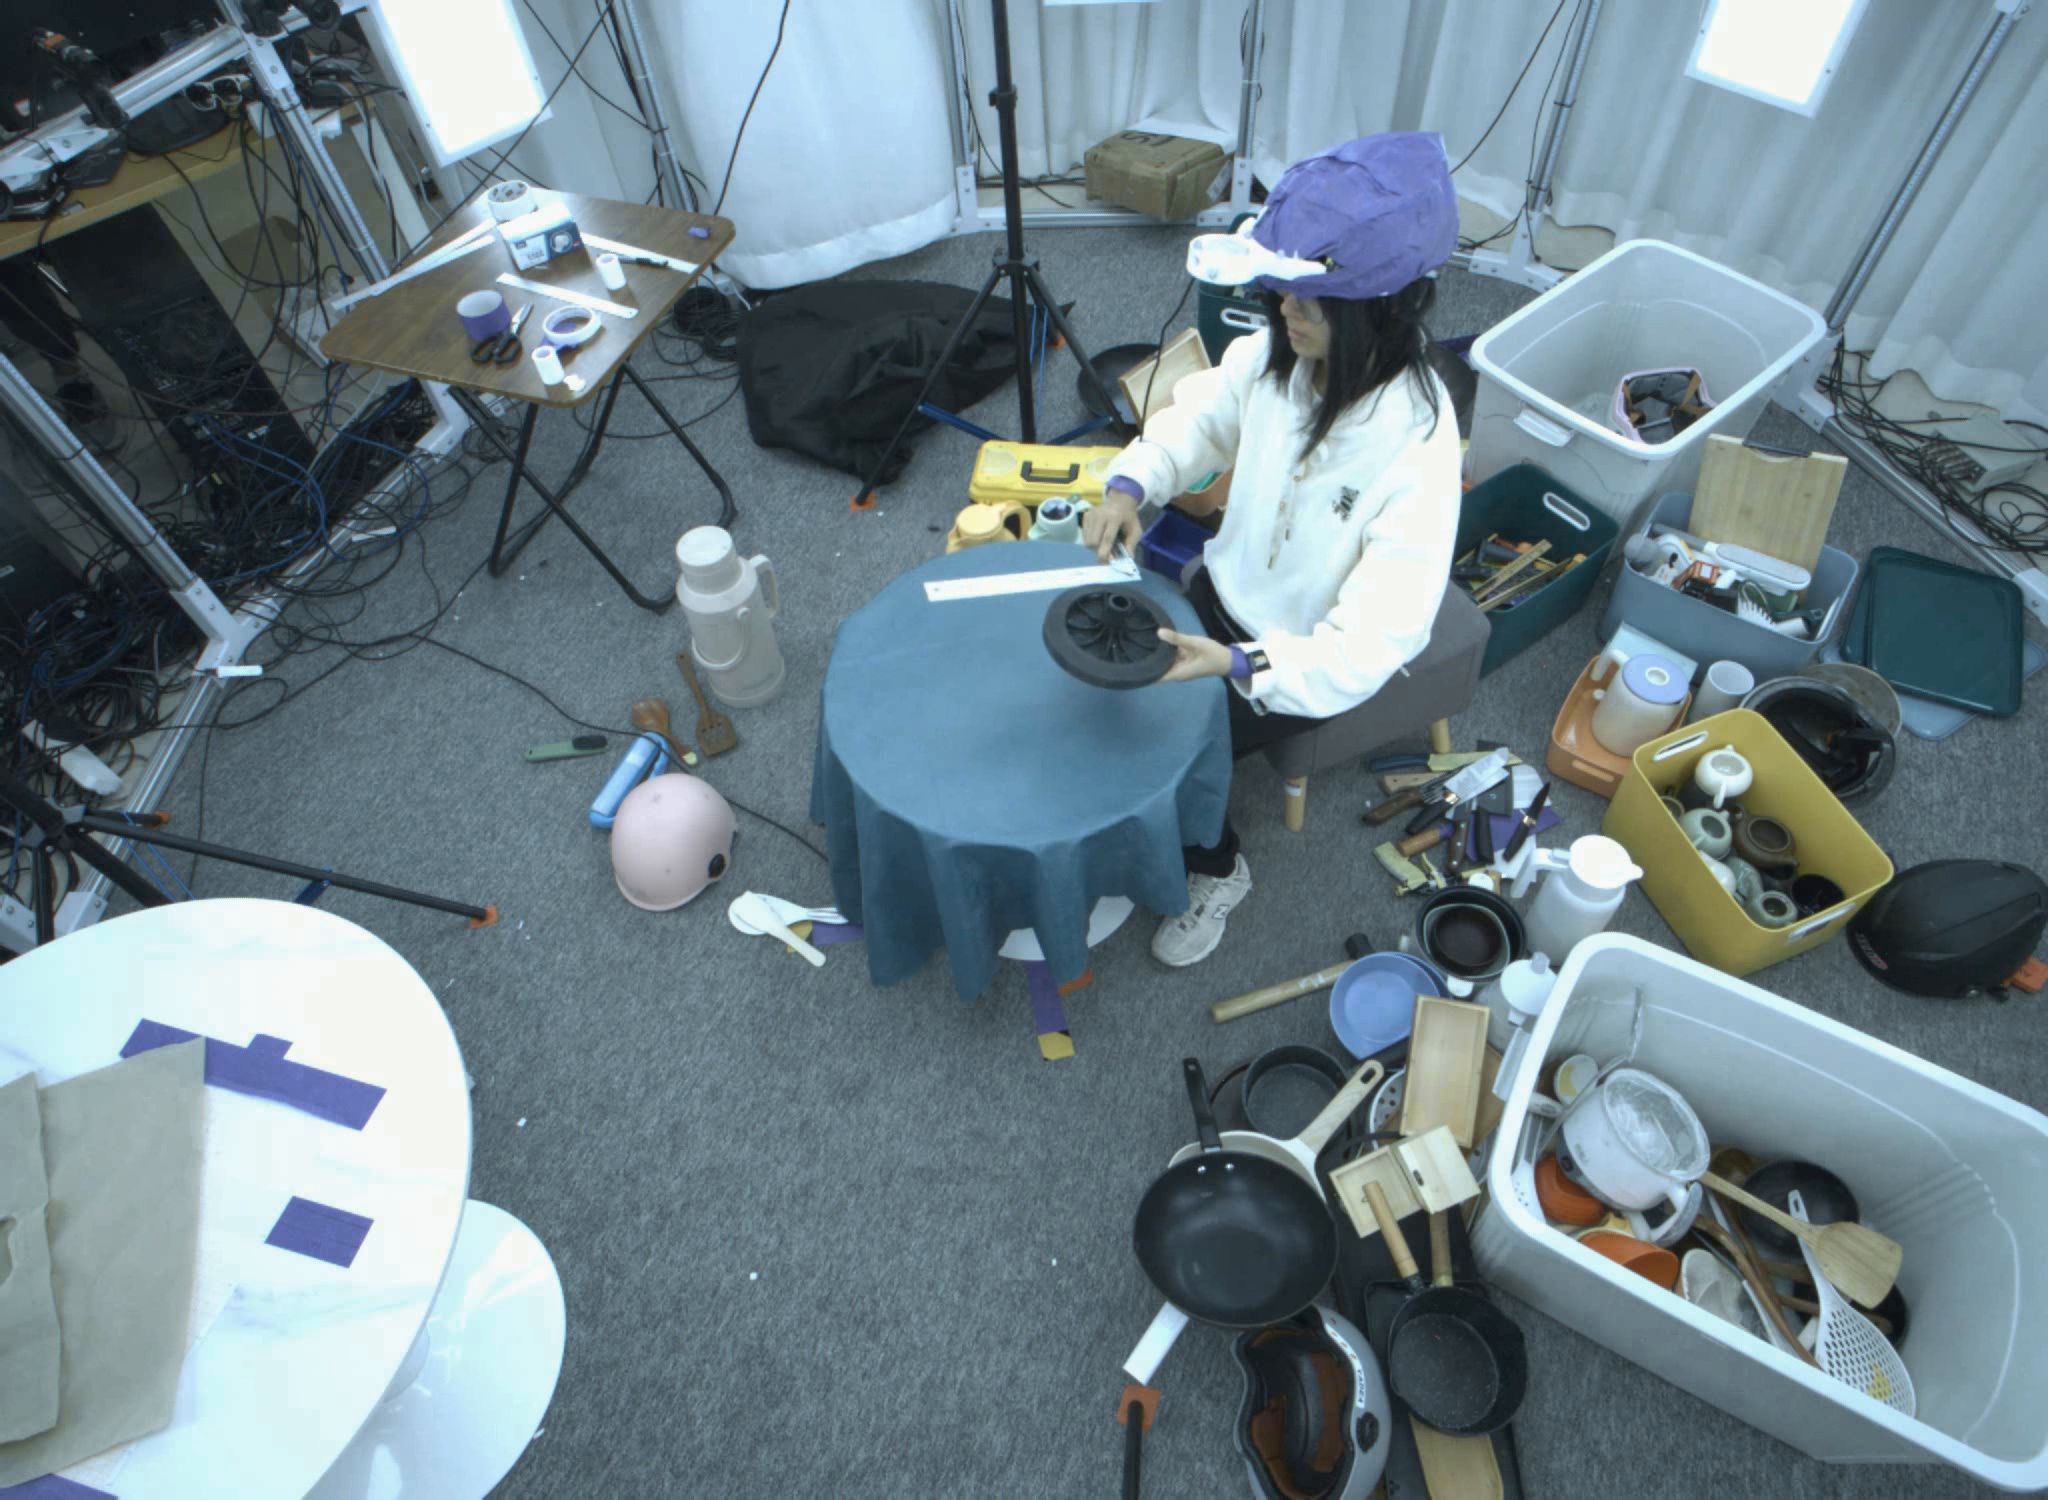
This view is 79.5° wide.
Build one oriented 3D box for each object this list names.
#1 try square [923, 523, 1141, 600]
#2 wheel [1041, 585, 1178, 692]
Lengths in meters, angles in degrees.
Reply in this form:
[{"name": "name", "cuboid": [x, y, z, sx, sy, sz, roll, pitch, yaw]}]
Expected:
[{"name": "try square", "cuboid": [0.000, -0.272, 1.760, 0.316, 0.016, 0.149, -7, 43, -16]}, {"name": "wheel", "cuboid": [0.120, -0.169, 1.671, 0.190, 0.079, 0.186, -20, 59, -26]}]
